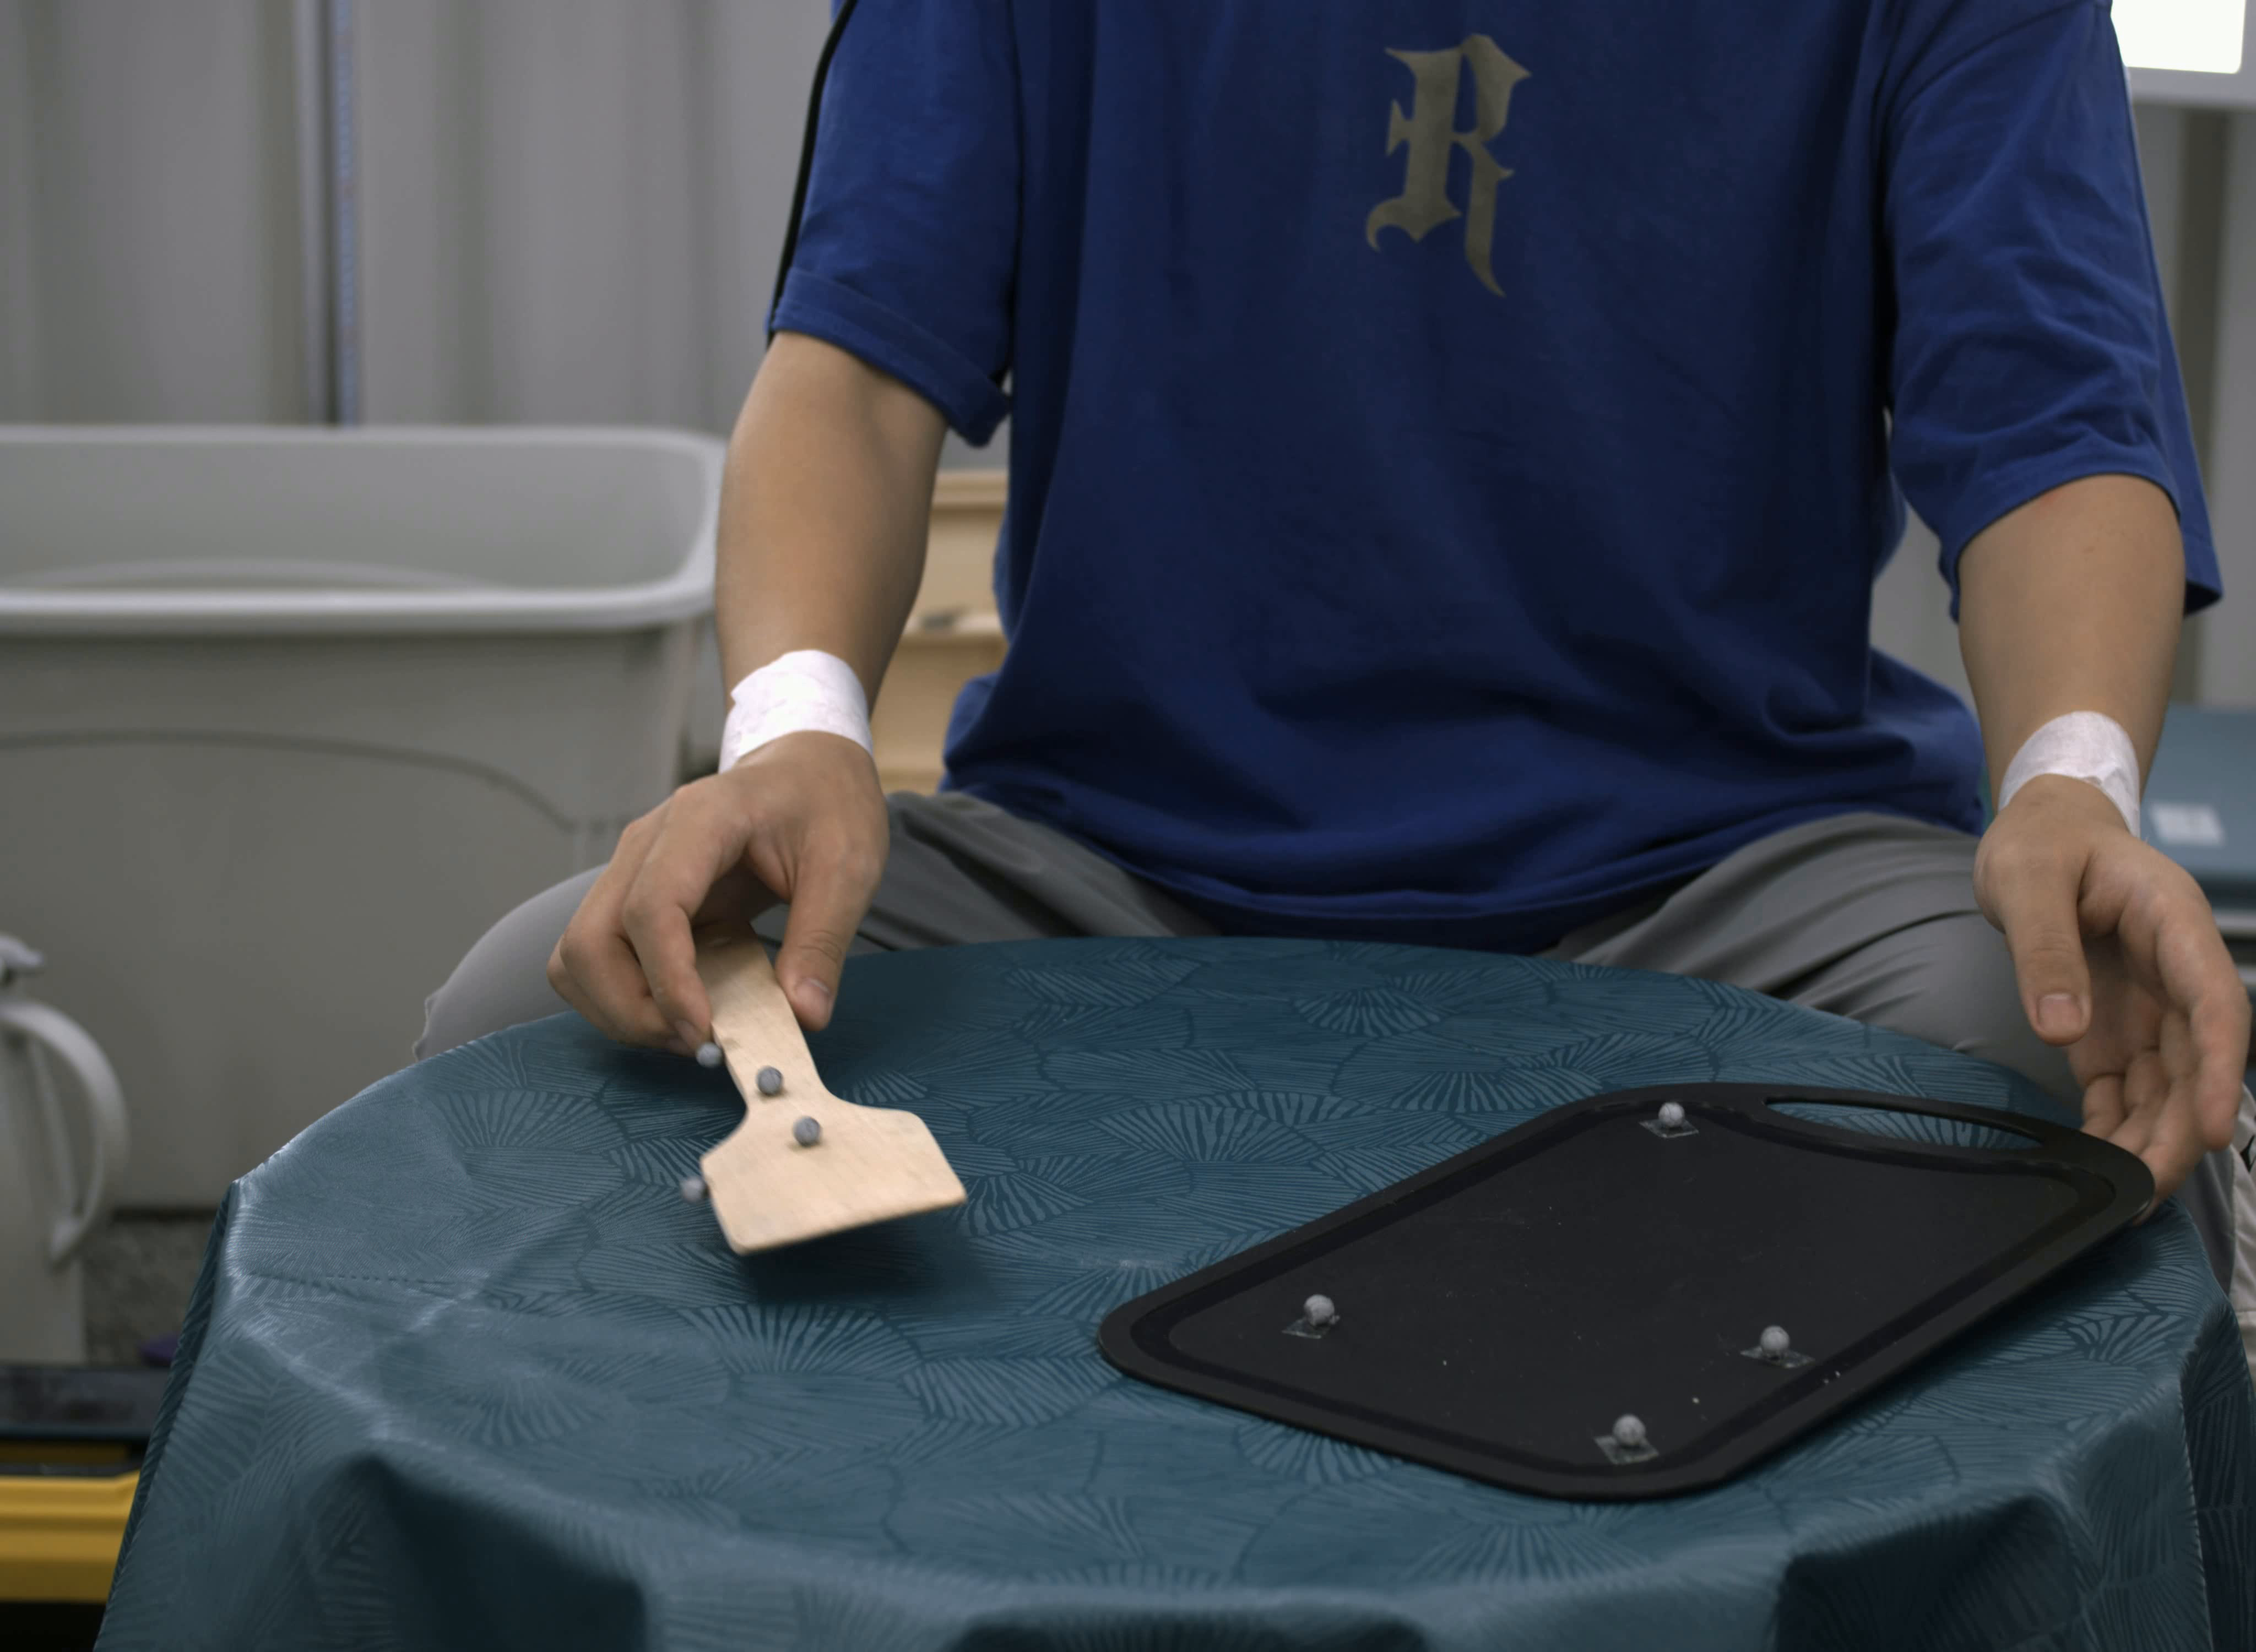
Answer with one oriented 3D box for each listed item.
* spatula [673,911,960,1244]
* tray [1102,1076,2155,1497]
[{"bbox_3d":[-0.113,0.075,1.657,0.072,0.011,0.290,-12,19,-9],"label":"spatula"},{"bbox_3d":[0.155,0.125,1.549,0.208,0.010,0.327,12,21,38],"label":"tray"}]
